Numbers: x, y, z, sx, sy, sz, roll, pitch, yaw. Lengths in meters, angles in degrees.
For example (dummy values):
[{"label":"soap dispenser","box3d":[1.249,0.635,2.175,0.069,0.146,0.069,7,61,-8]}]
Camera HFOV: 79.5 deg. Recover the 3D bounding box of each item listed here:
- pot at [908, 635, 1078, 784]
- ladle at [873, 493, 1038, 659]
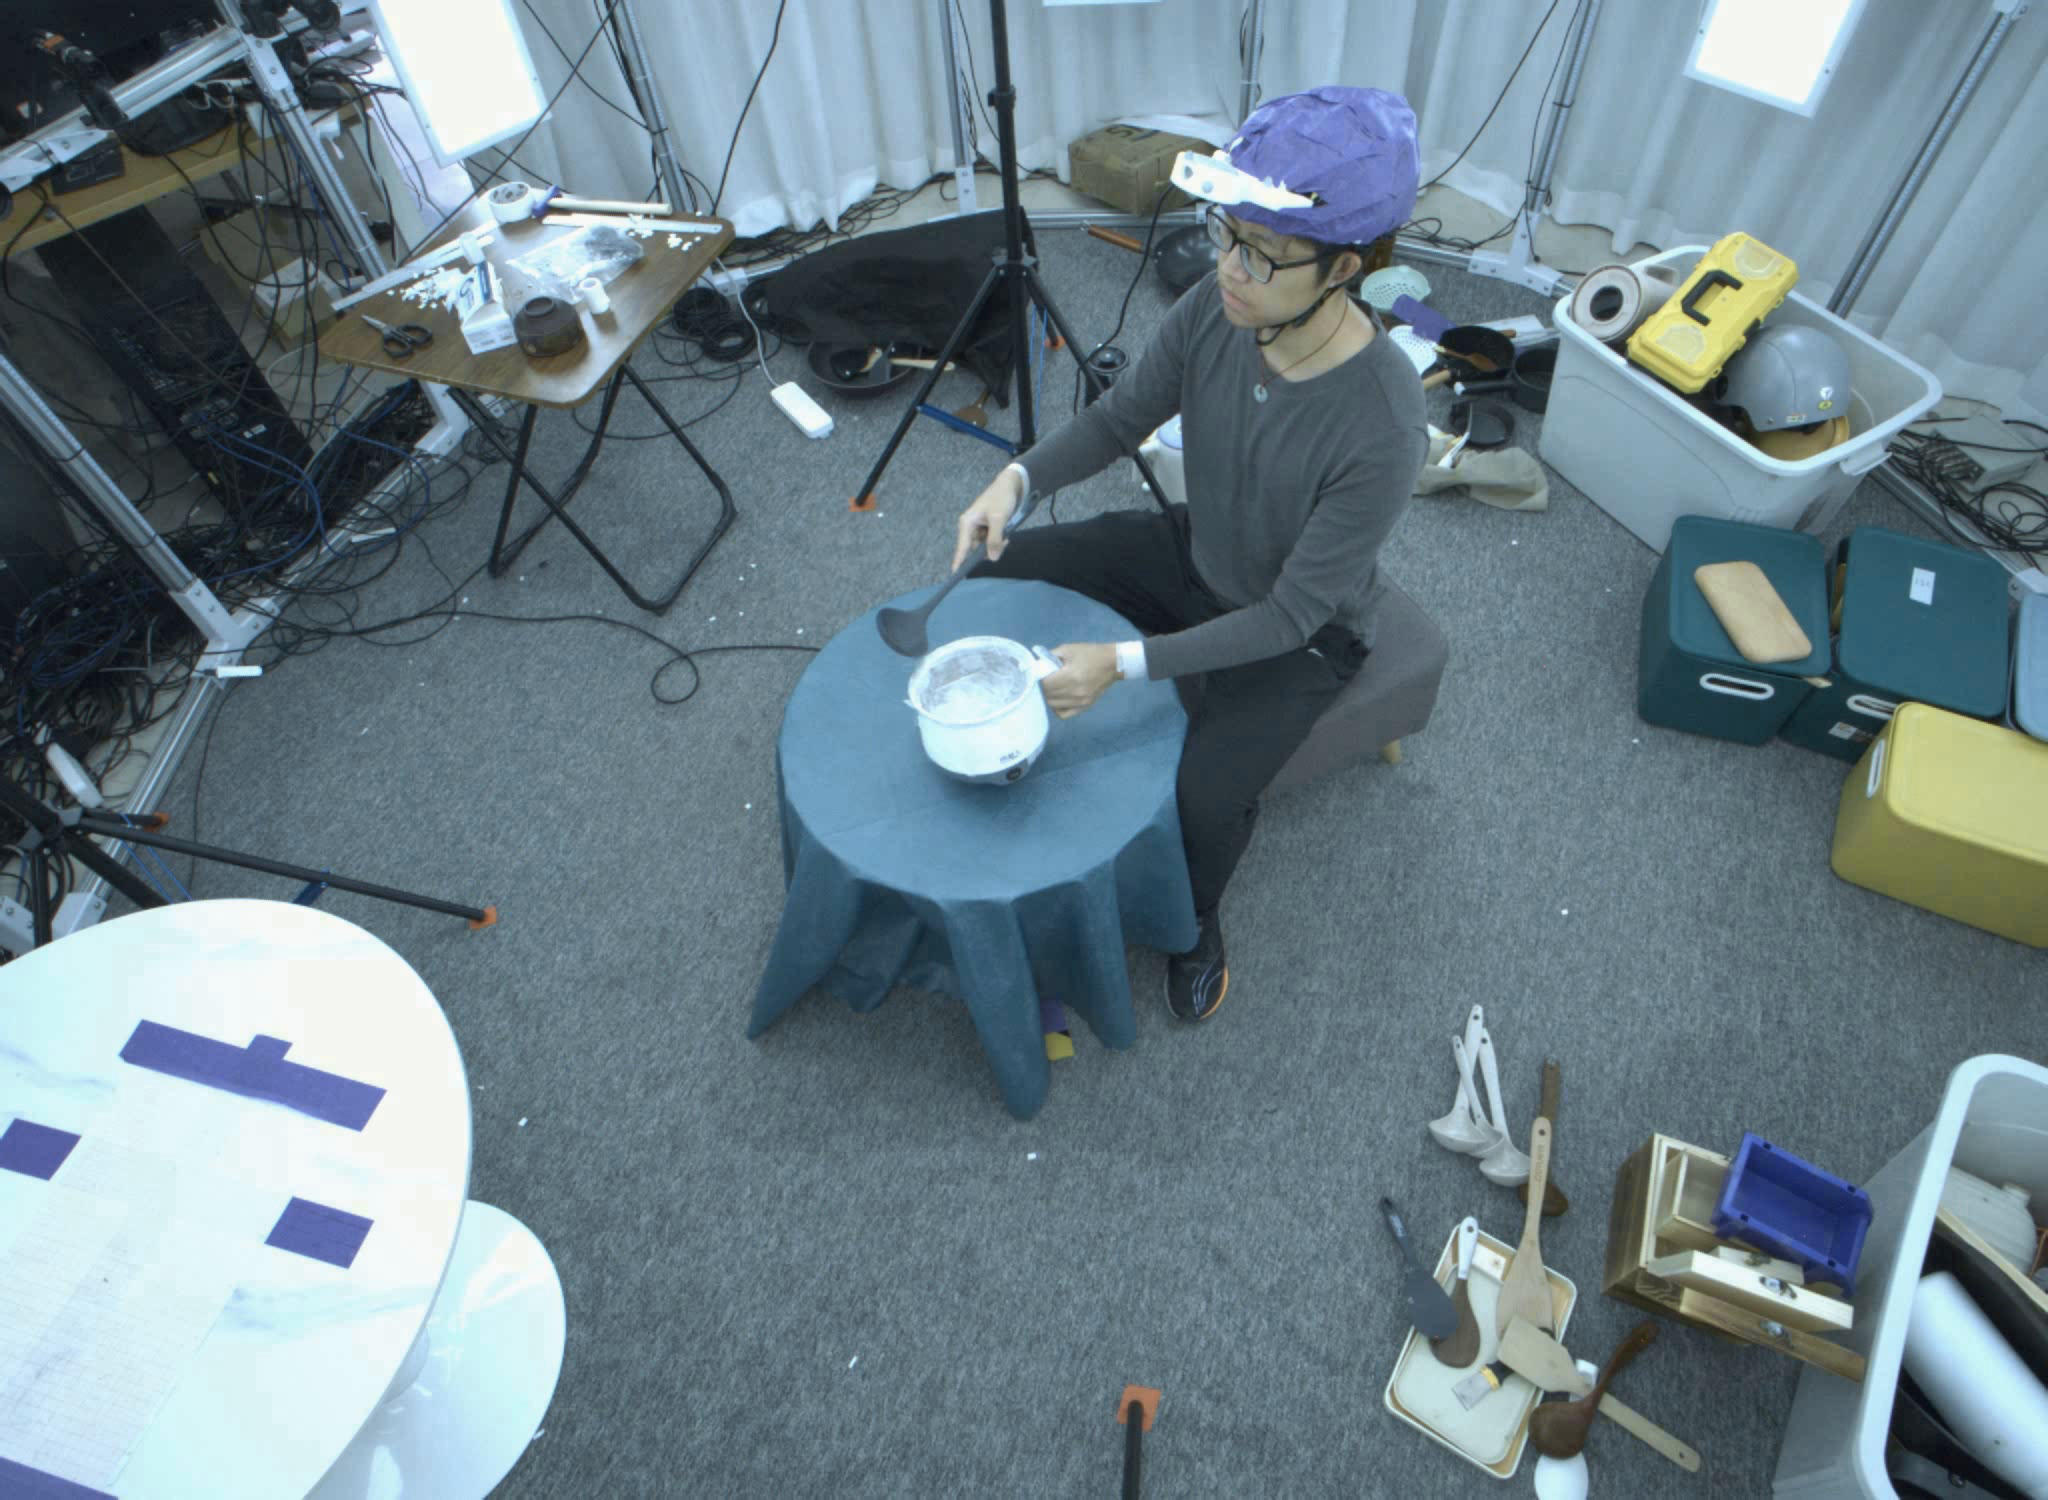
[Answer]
[{"label":"pot","box3d":[-0.036,-0.065,1.715,0.235,0.138,0.175,-27,48,-14]},{"label":"ladle","box3d":[-0.086,-0.252,1.701,0.087,0.063,0.314,44,81,-10]}]
